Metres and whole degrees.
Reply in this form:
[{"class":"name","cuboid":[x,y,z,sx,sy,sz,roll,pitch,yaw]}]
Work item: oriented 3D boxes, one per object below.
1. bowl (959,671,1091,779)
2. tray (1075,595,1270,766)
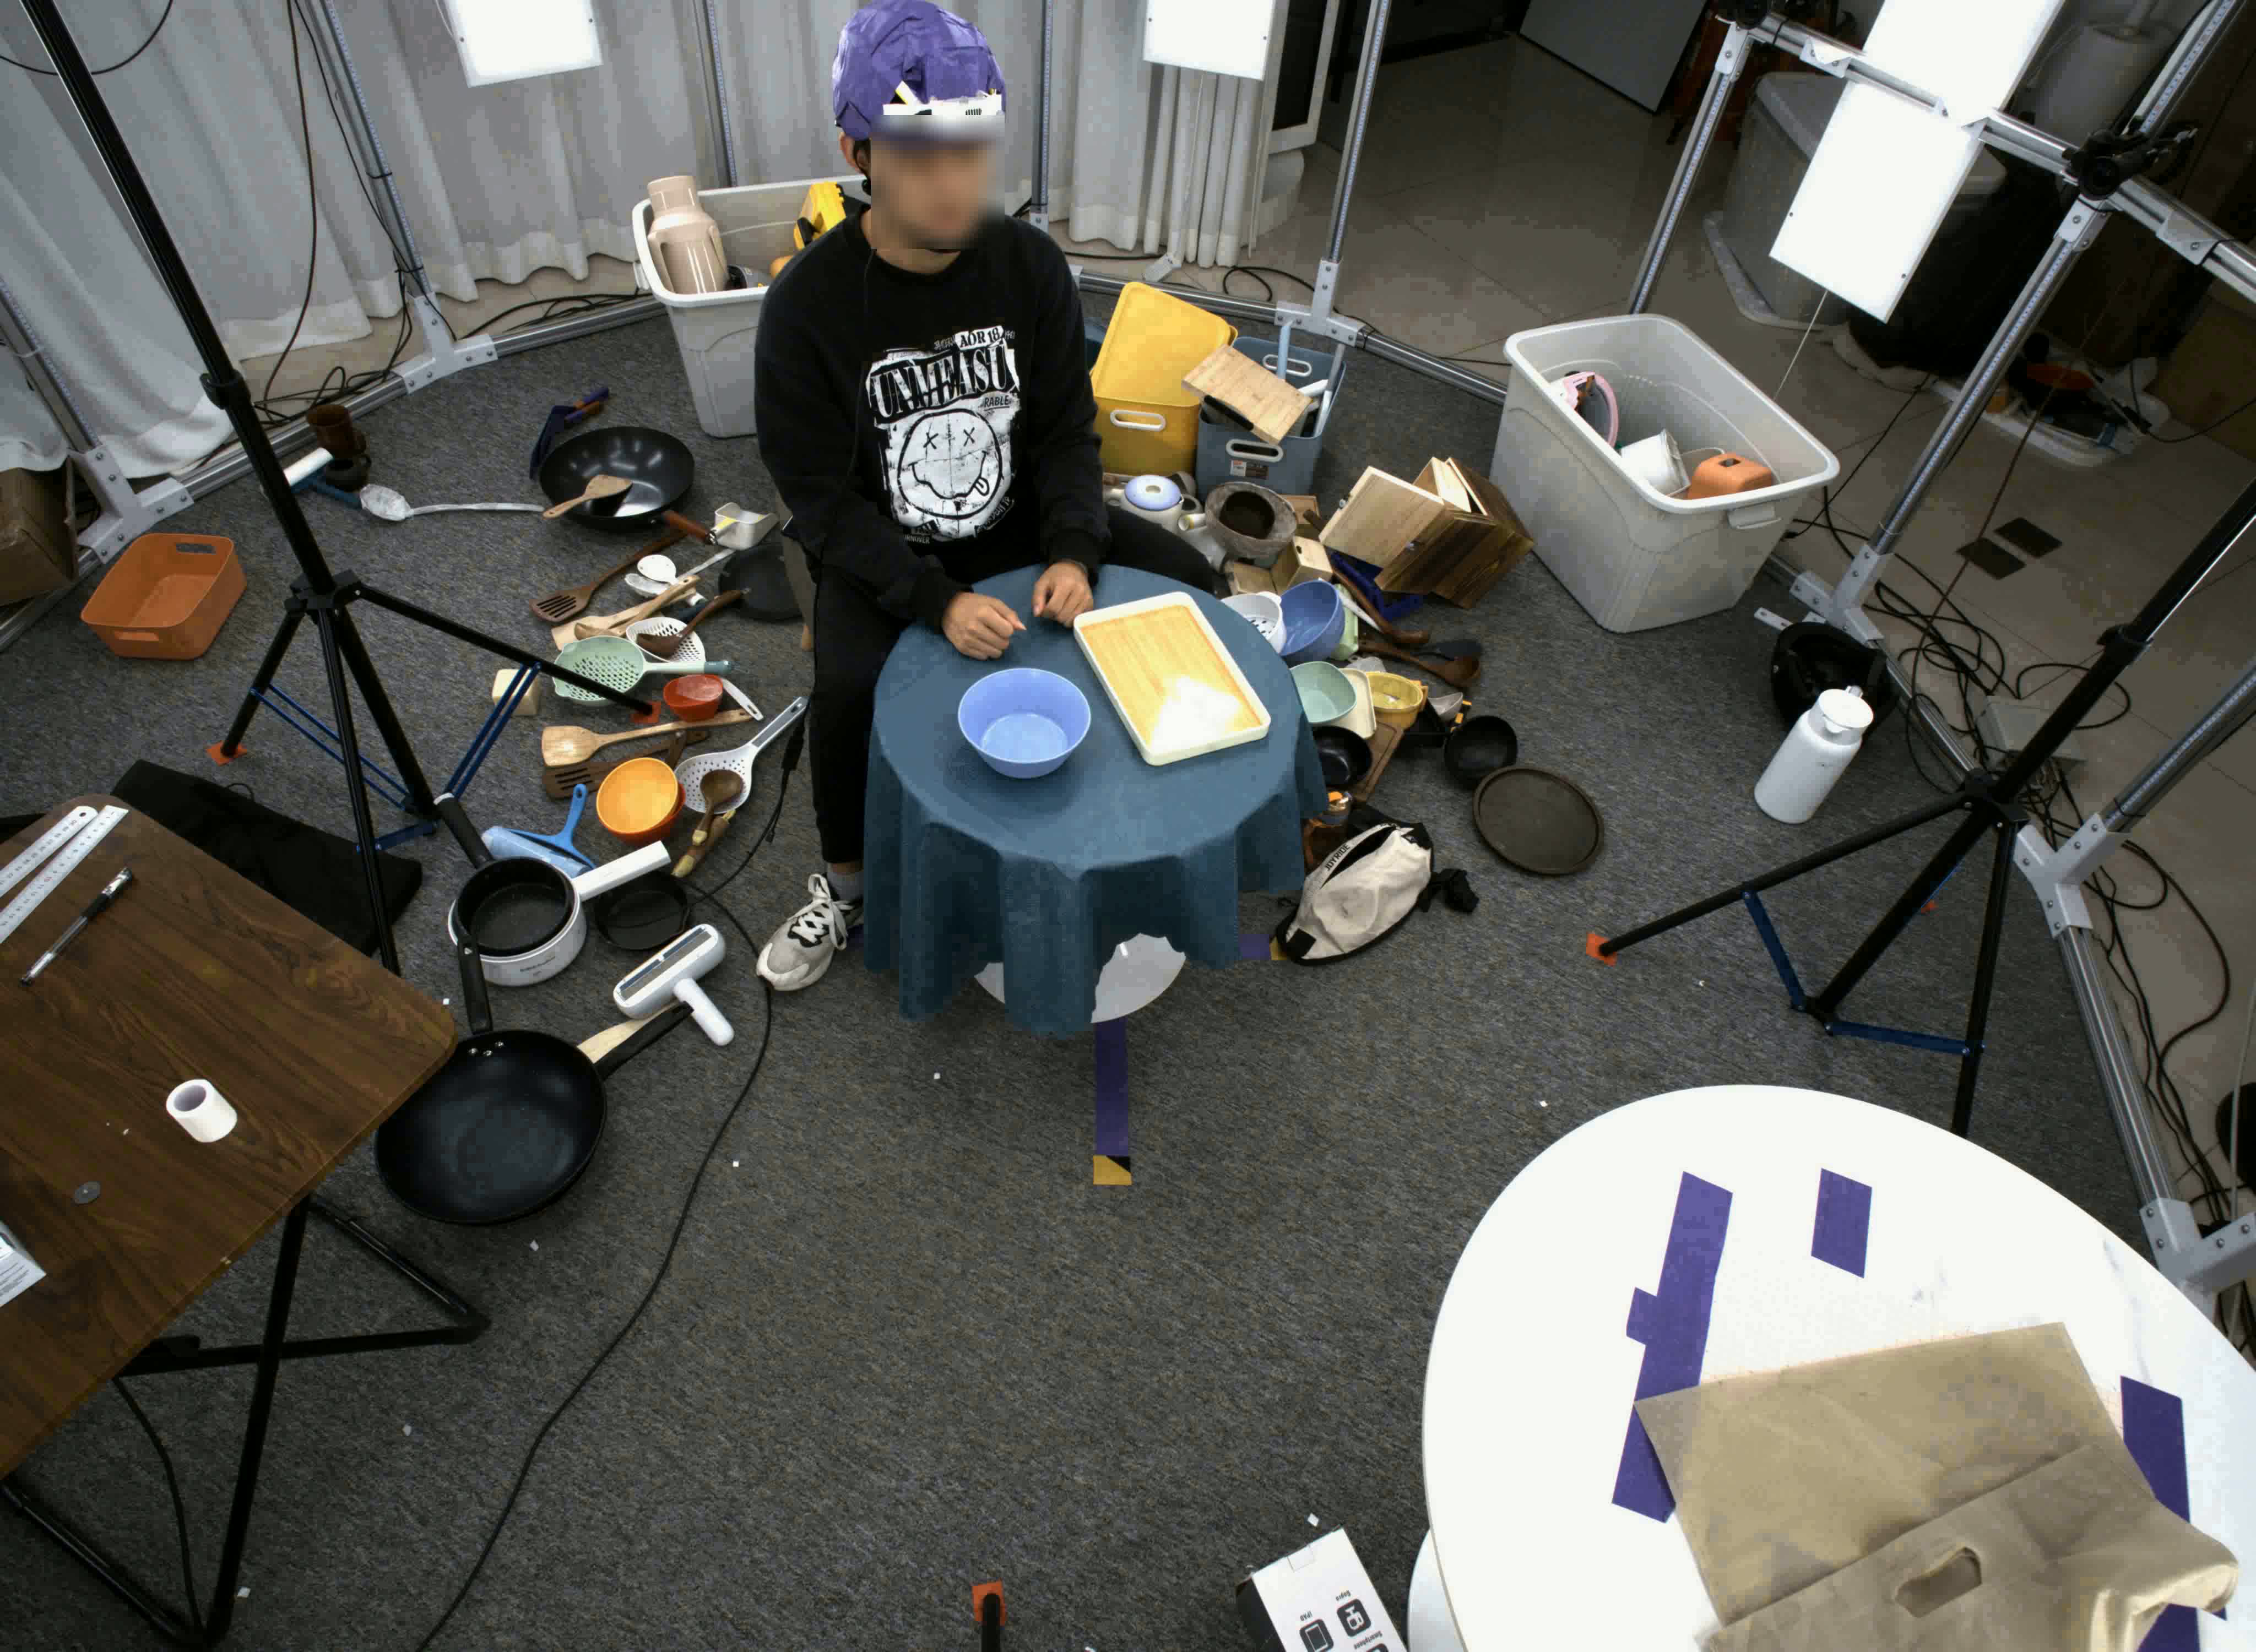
[{"class":"bowl","cuboid":[-0.140,-0.128,1.740,0.176,0.068,0.180,2,49,-3]},{"class":"tray","cuboid":[0.060,-0.217,1.860,0.192,0.027,0.307,-15,52,-17]}]
